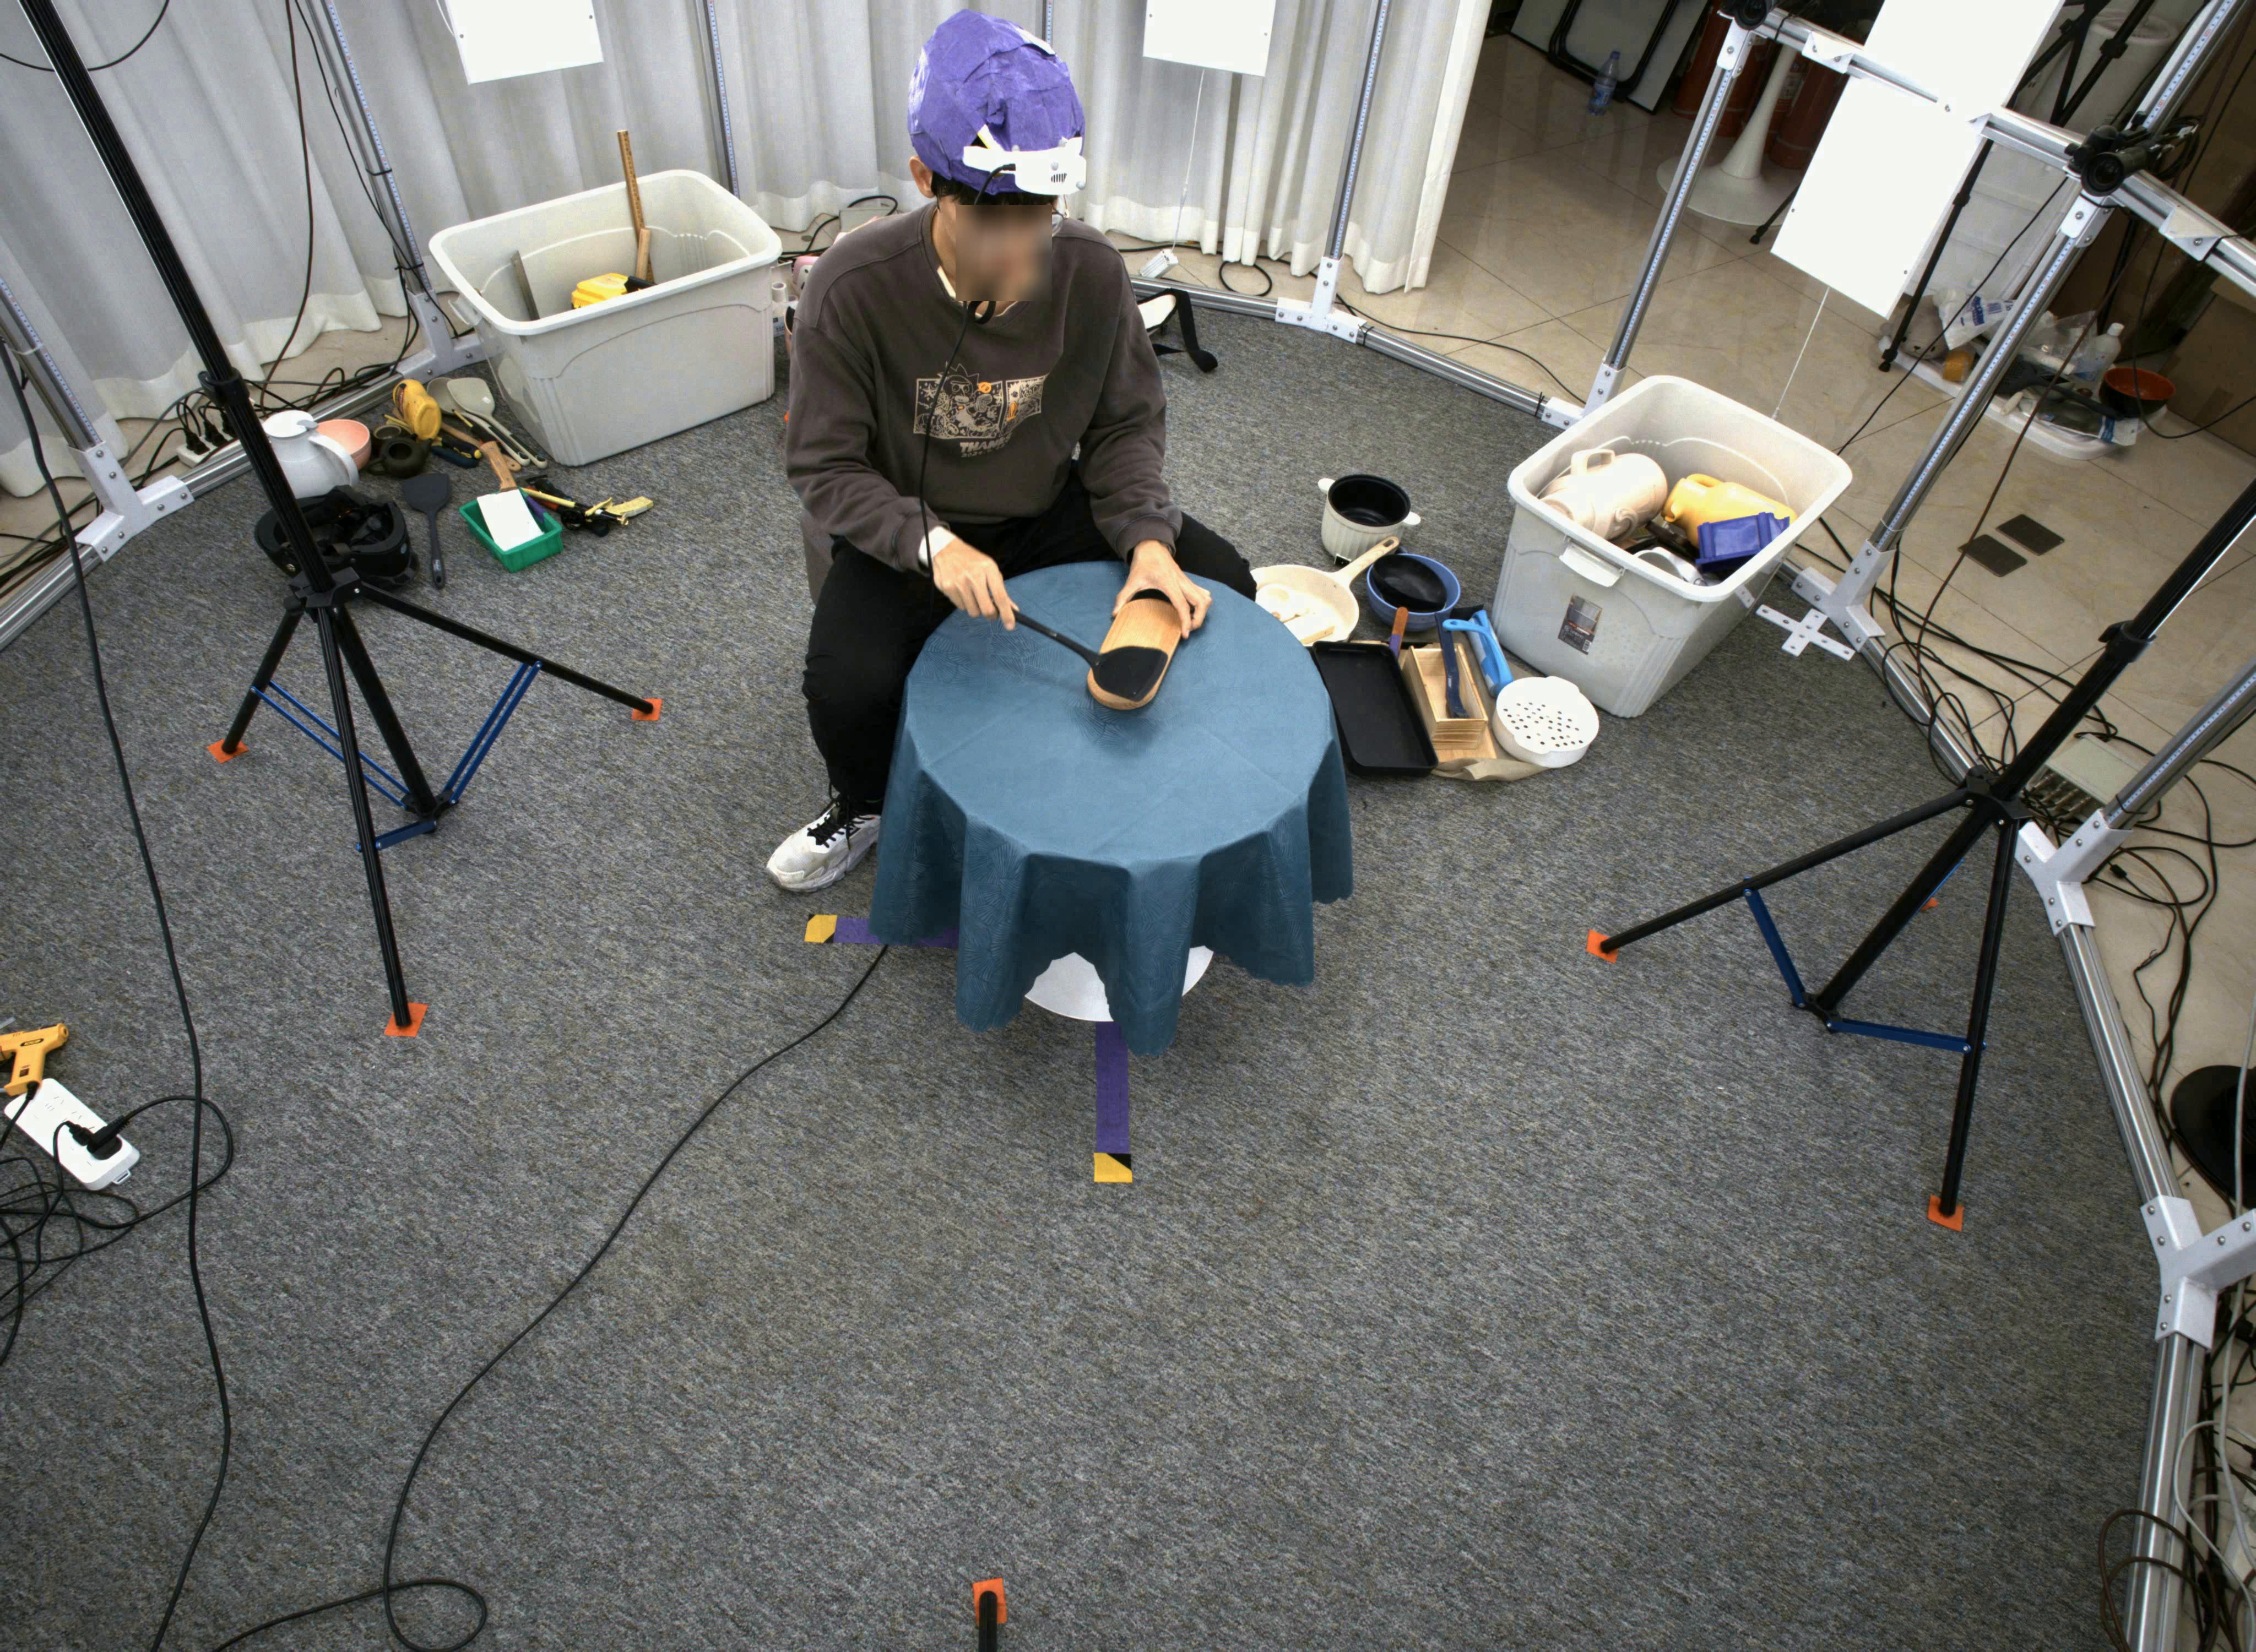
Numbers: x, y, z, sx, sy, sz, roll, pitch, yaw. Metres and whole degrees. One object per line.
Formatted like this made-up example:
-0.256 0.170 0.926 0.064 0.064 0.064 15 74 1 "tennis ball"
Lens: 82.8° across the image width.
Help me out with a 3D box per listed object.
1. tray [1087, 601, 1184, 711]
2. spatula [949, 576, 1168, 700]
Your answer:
0.012 -0.250 1.873 0.102 0.020 0.236 15 51 11 "tray"
-0.105 -0.273 1.778 0.327 0.039 0.101 29 58 5 "spatula"
